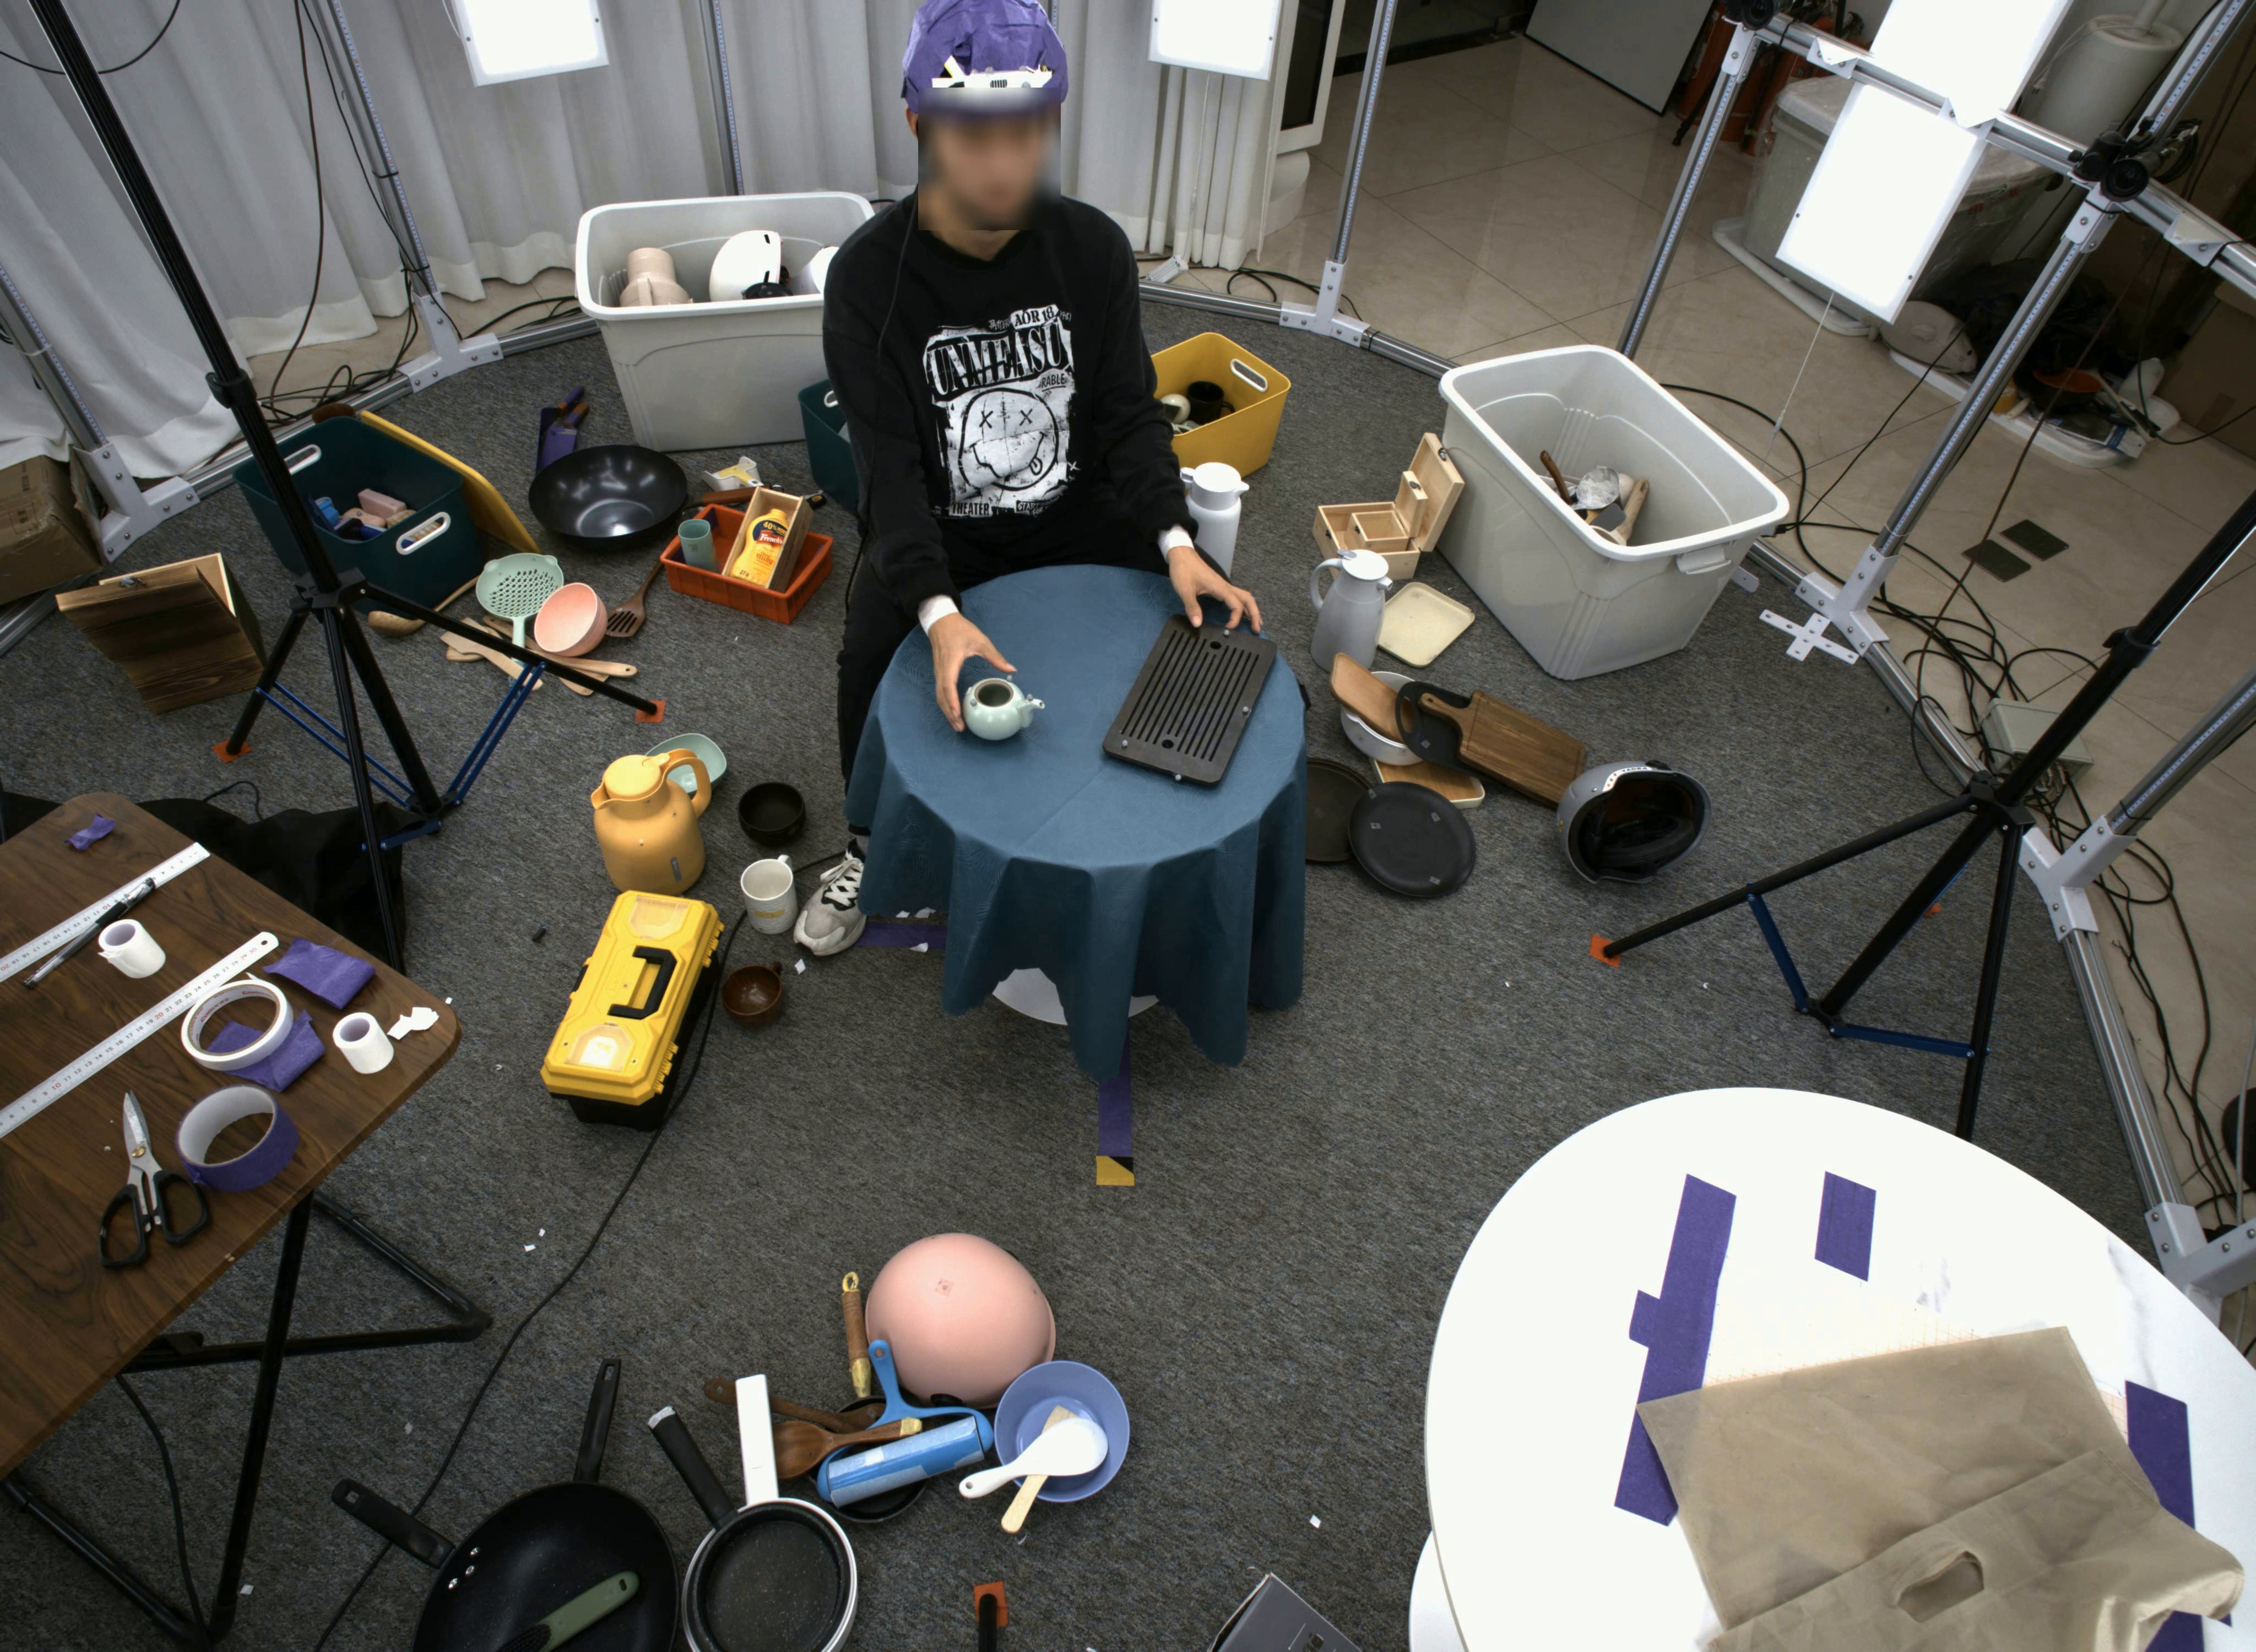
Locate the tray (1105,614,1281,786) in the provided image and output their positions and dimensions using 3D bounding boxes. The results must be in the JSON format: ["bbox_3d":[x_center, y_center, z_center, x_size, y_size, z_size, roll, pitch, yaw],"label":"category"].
[{"bbox_3d":[0.097,-0.183,1.822,0.171,0.018,0.312,17,50,12],"label":"tray"}]

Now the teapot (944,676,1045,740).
[{"bbox_3d":[-0.182,-0.160,1.750,0.144,0.073,0.090,18,50,9],"label":"teapot"}]
